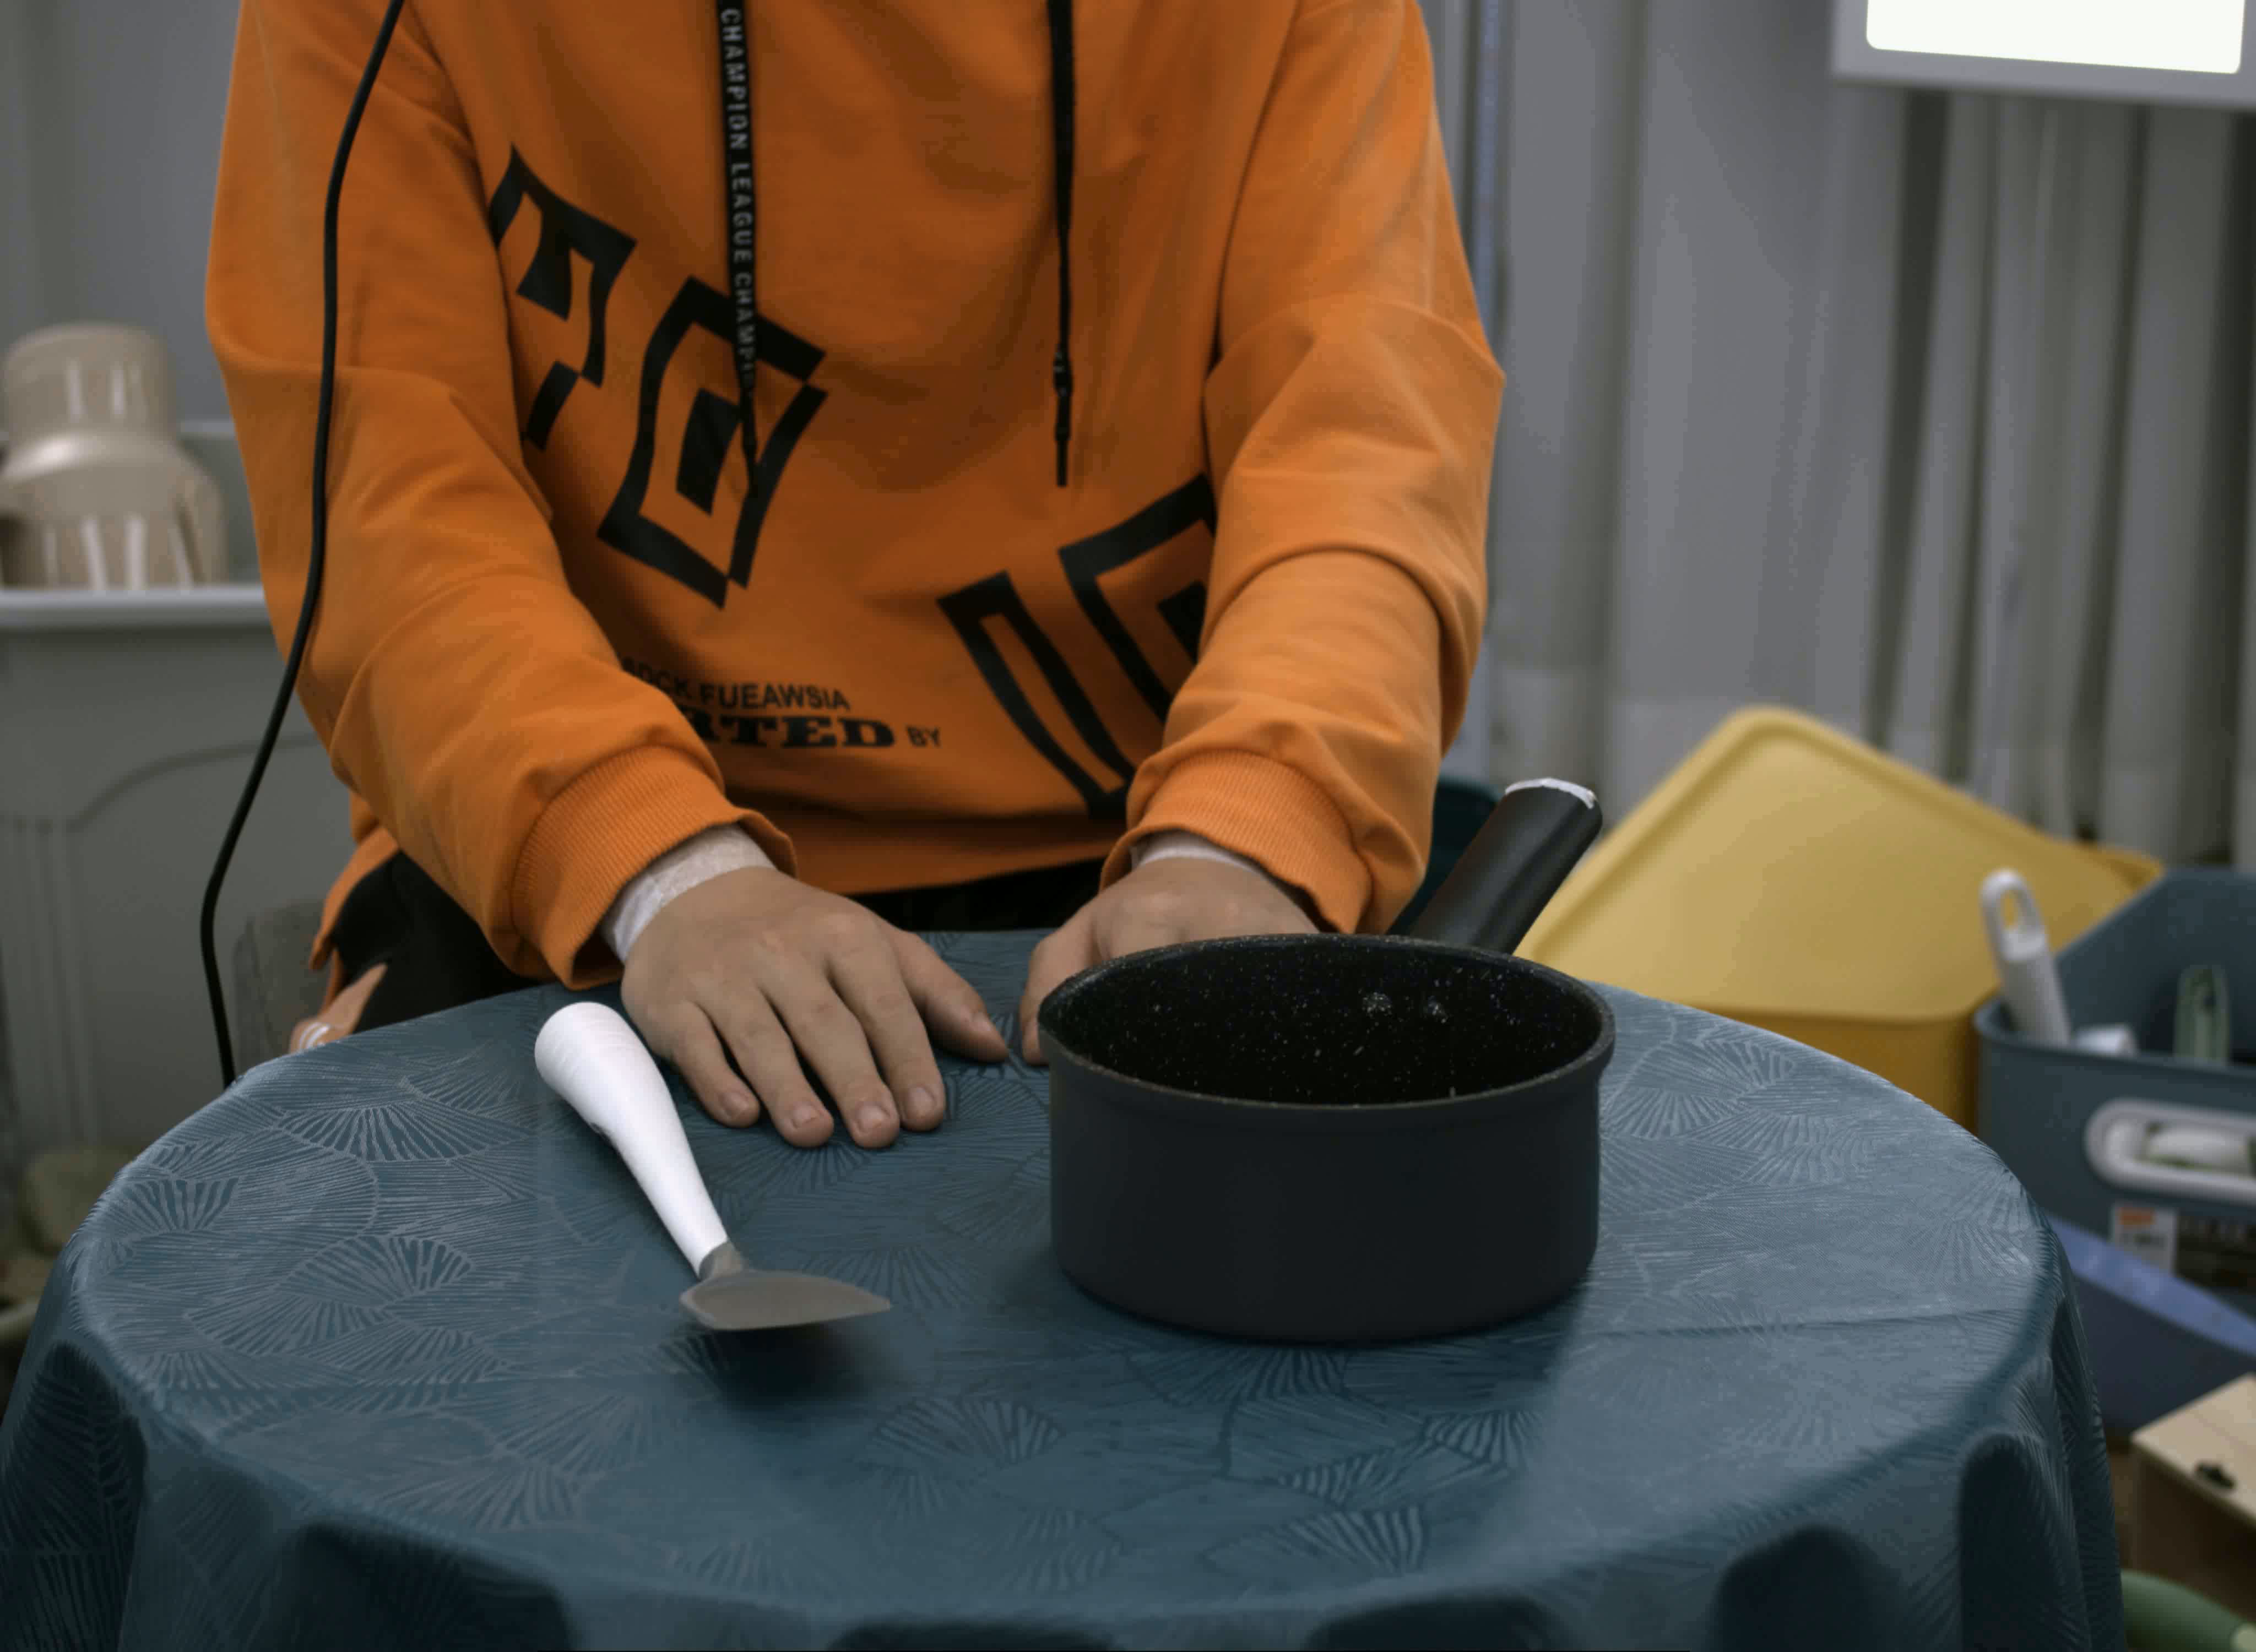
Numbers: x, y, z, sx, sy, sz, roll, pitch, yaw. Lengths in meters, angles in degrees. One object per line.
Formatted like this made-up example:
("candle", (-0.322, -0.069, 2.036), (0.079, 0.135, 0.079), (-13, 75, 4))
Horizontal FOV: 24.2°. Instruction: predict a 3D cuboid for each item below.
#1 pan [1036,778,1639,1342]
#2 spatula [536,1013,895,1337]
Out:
("pan", (0.089, 0.068, 1.627), (0.170, 0.087, 0.329), (8, 19, 22))
("spatula", (-0.131, 0.110, 1.569), (0.059, 0.032, 0.284), (0, 14, -19))
